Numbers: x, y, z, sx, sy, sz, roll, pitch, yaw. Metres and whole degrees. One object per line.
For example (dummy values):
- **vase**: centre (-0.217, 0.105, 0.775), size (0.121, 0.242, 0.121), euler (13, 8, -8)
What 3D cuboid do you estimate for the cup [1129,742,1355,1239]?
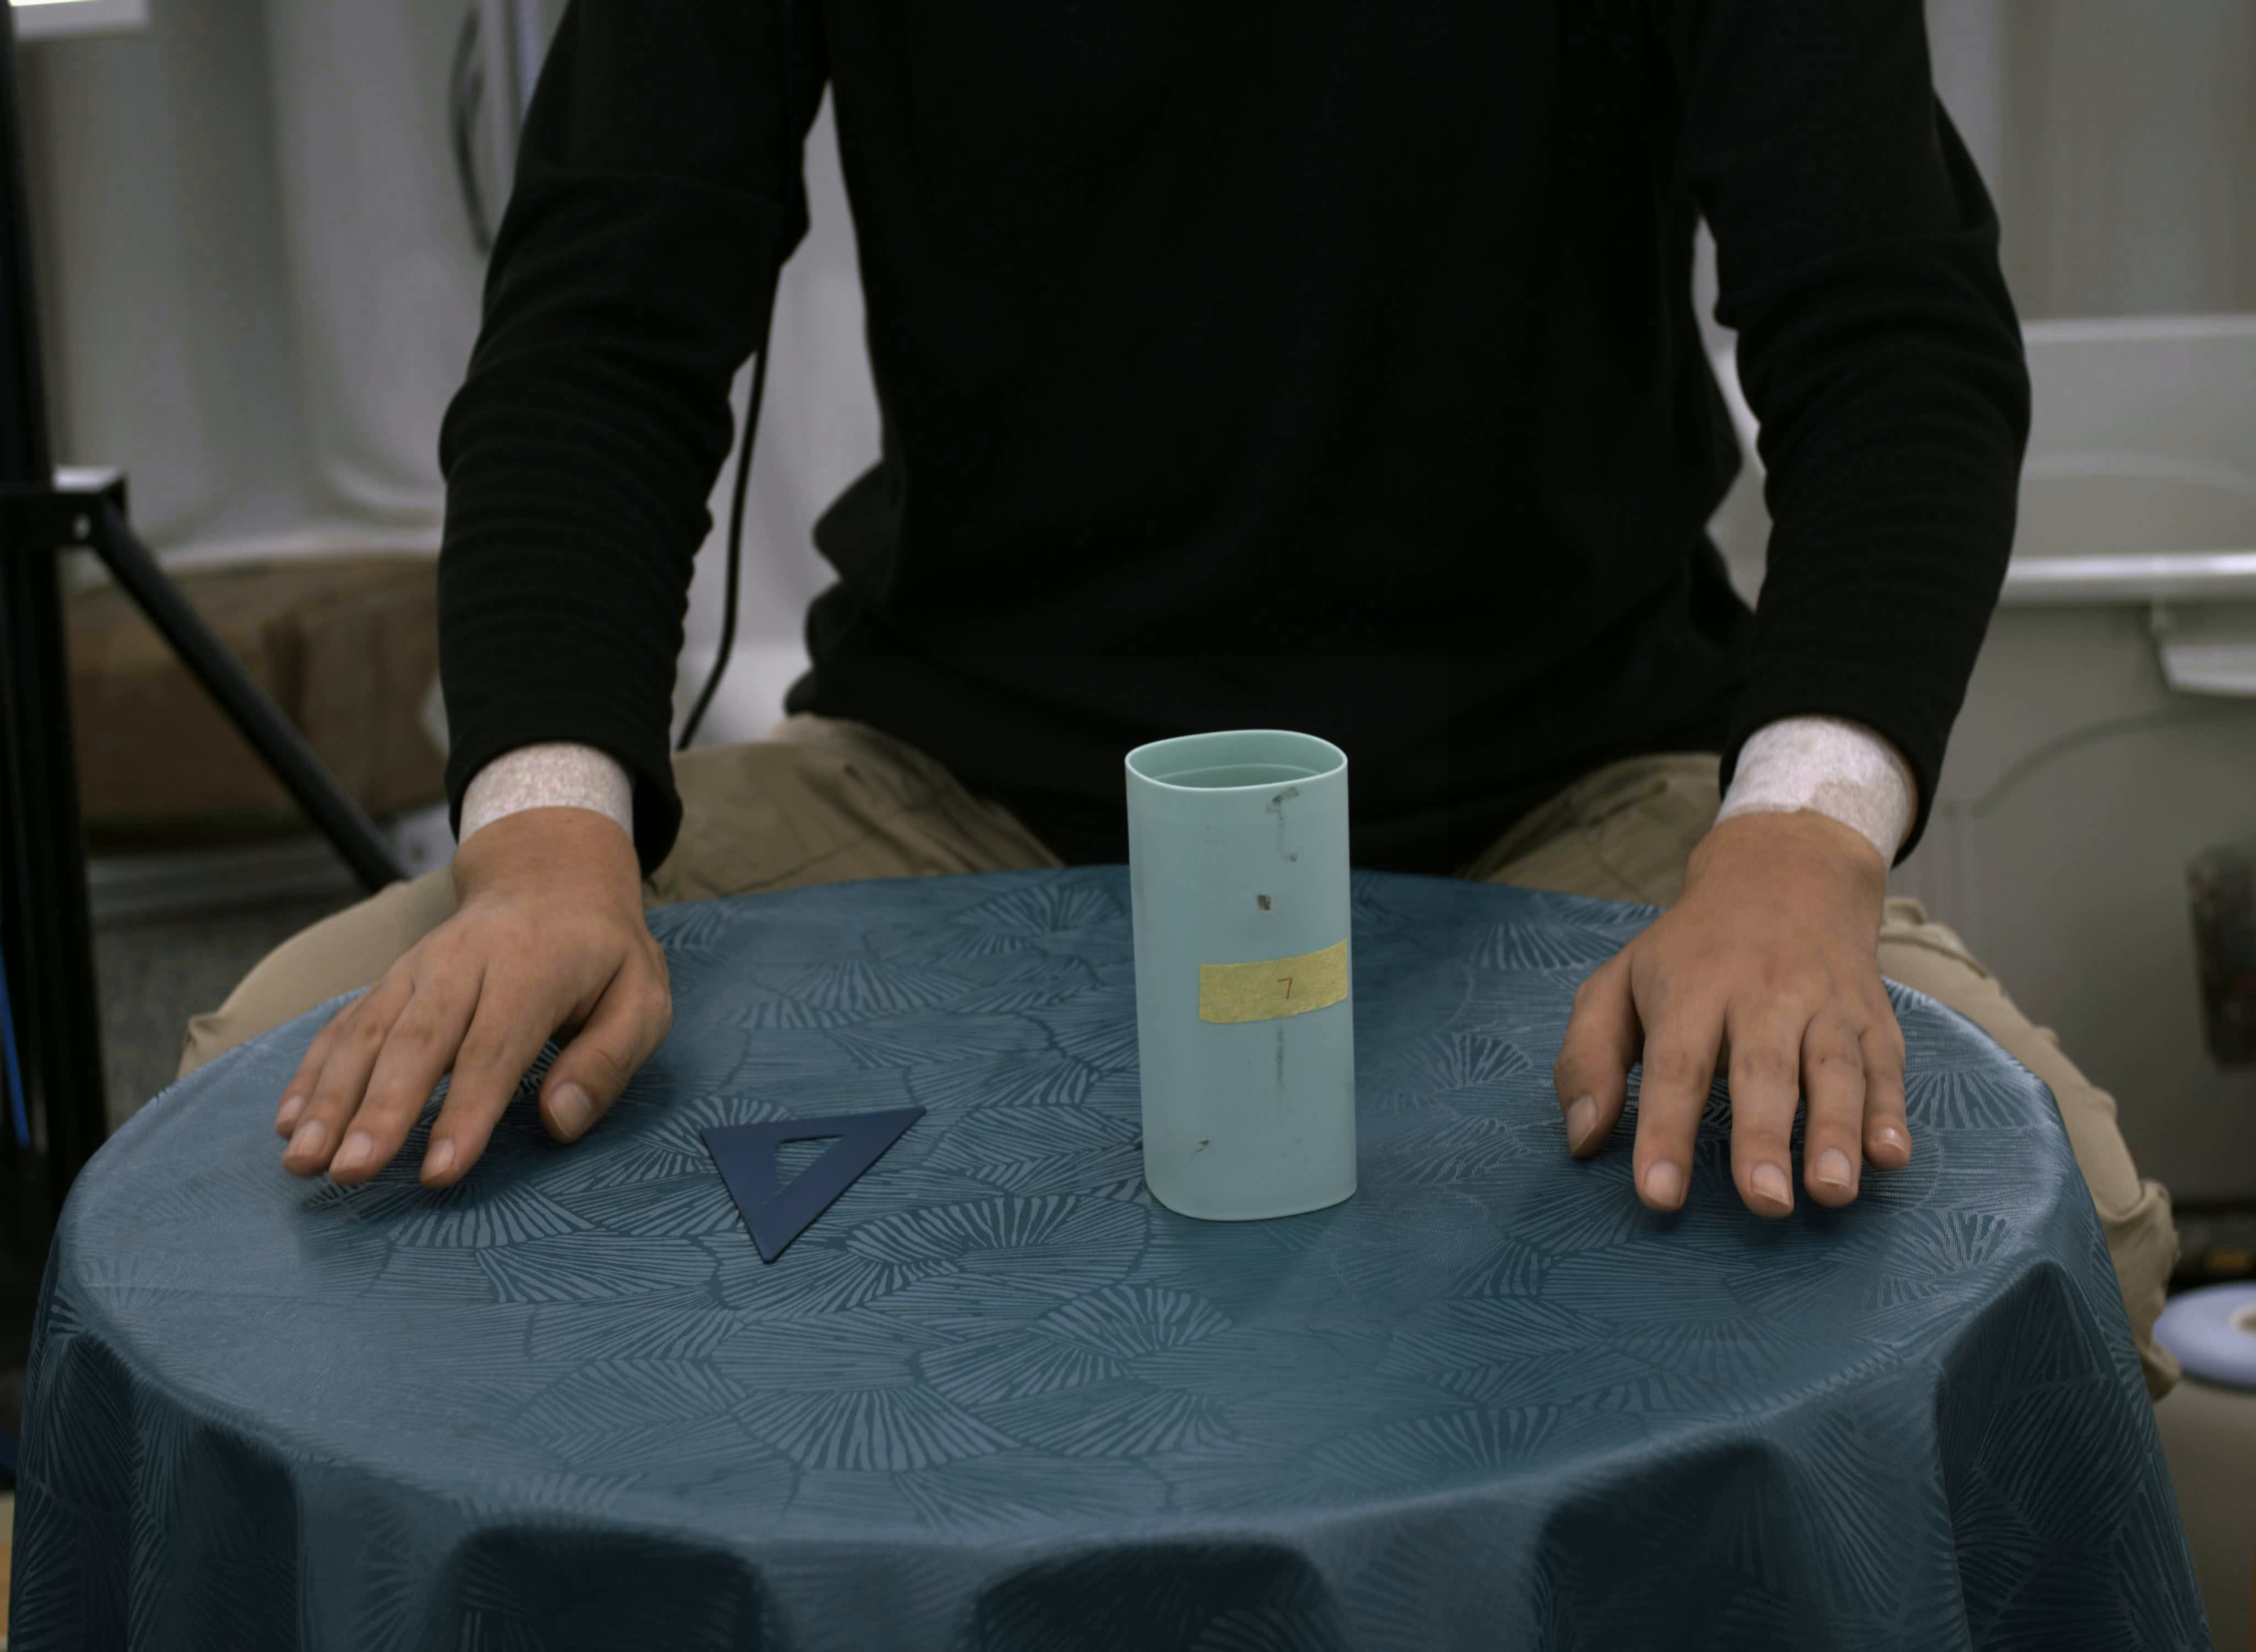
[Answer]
- **cup**: centre (0.034, 0.047, 1.543), size (0.066, 0.132, 0.067), euler (-2, 15, -1)

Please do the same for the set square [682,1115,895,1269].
- **set square**: centre (-0.119, 0.105, 1.579), size (0.062, 0.006, 0.130), euler (5, 18, 21)
